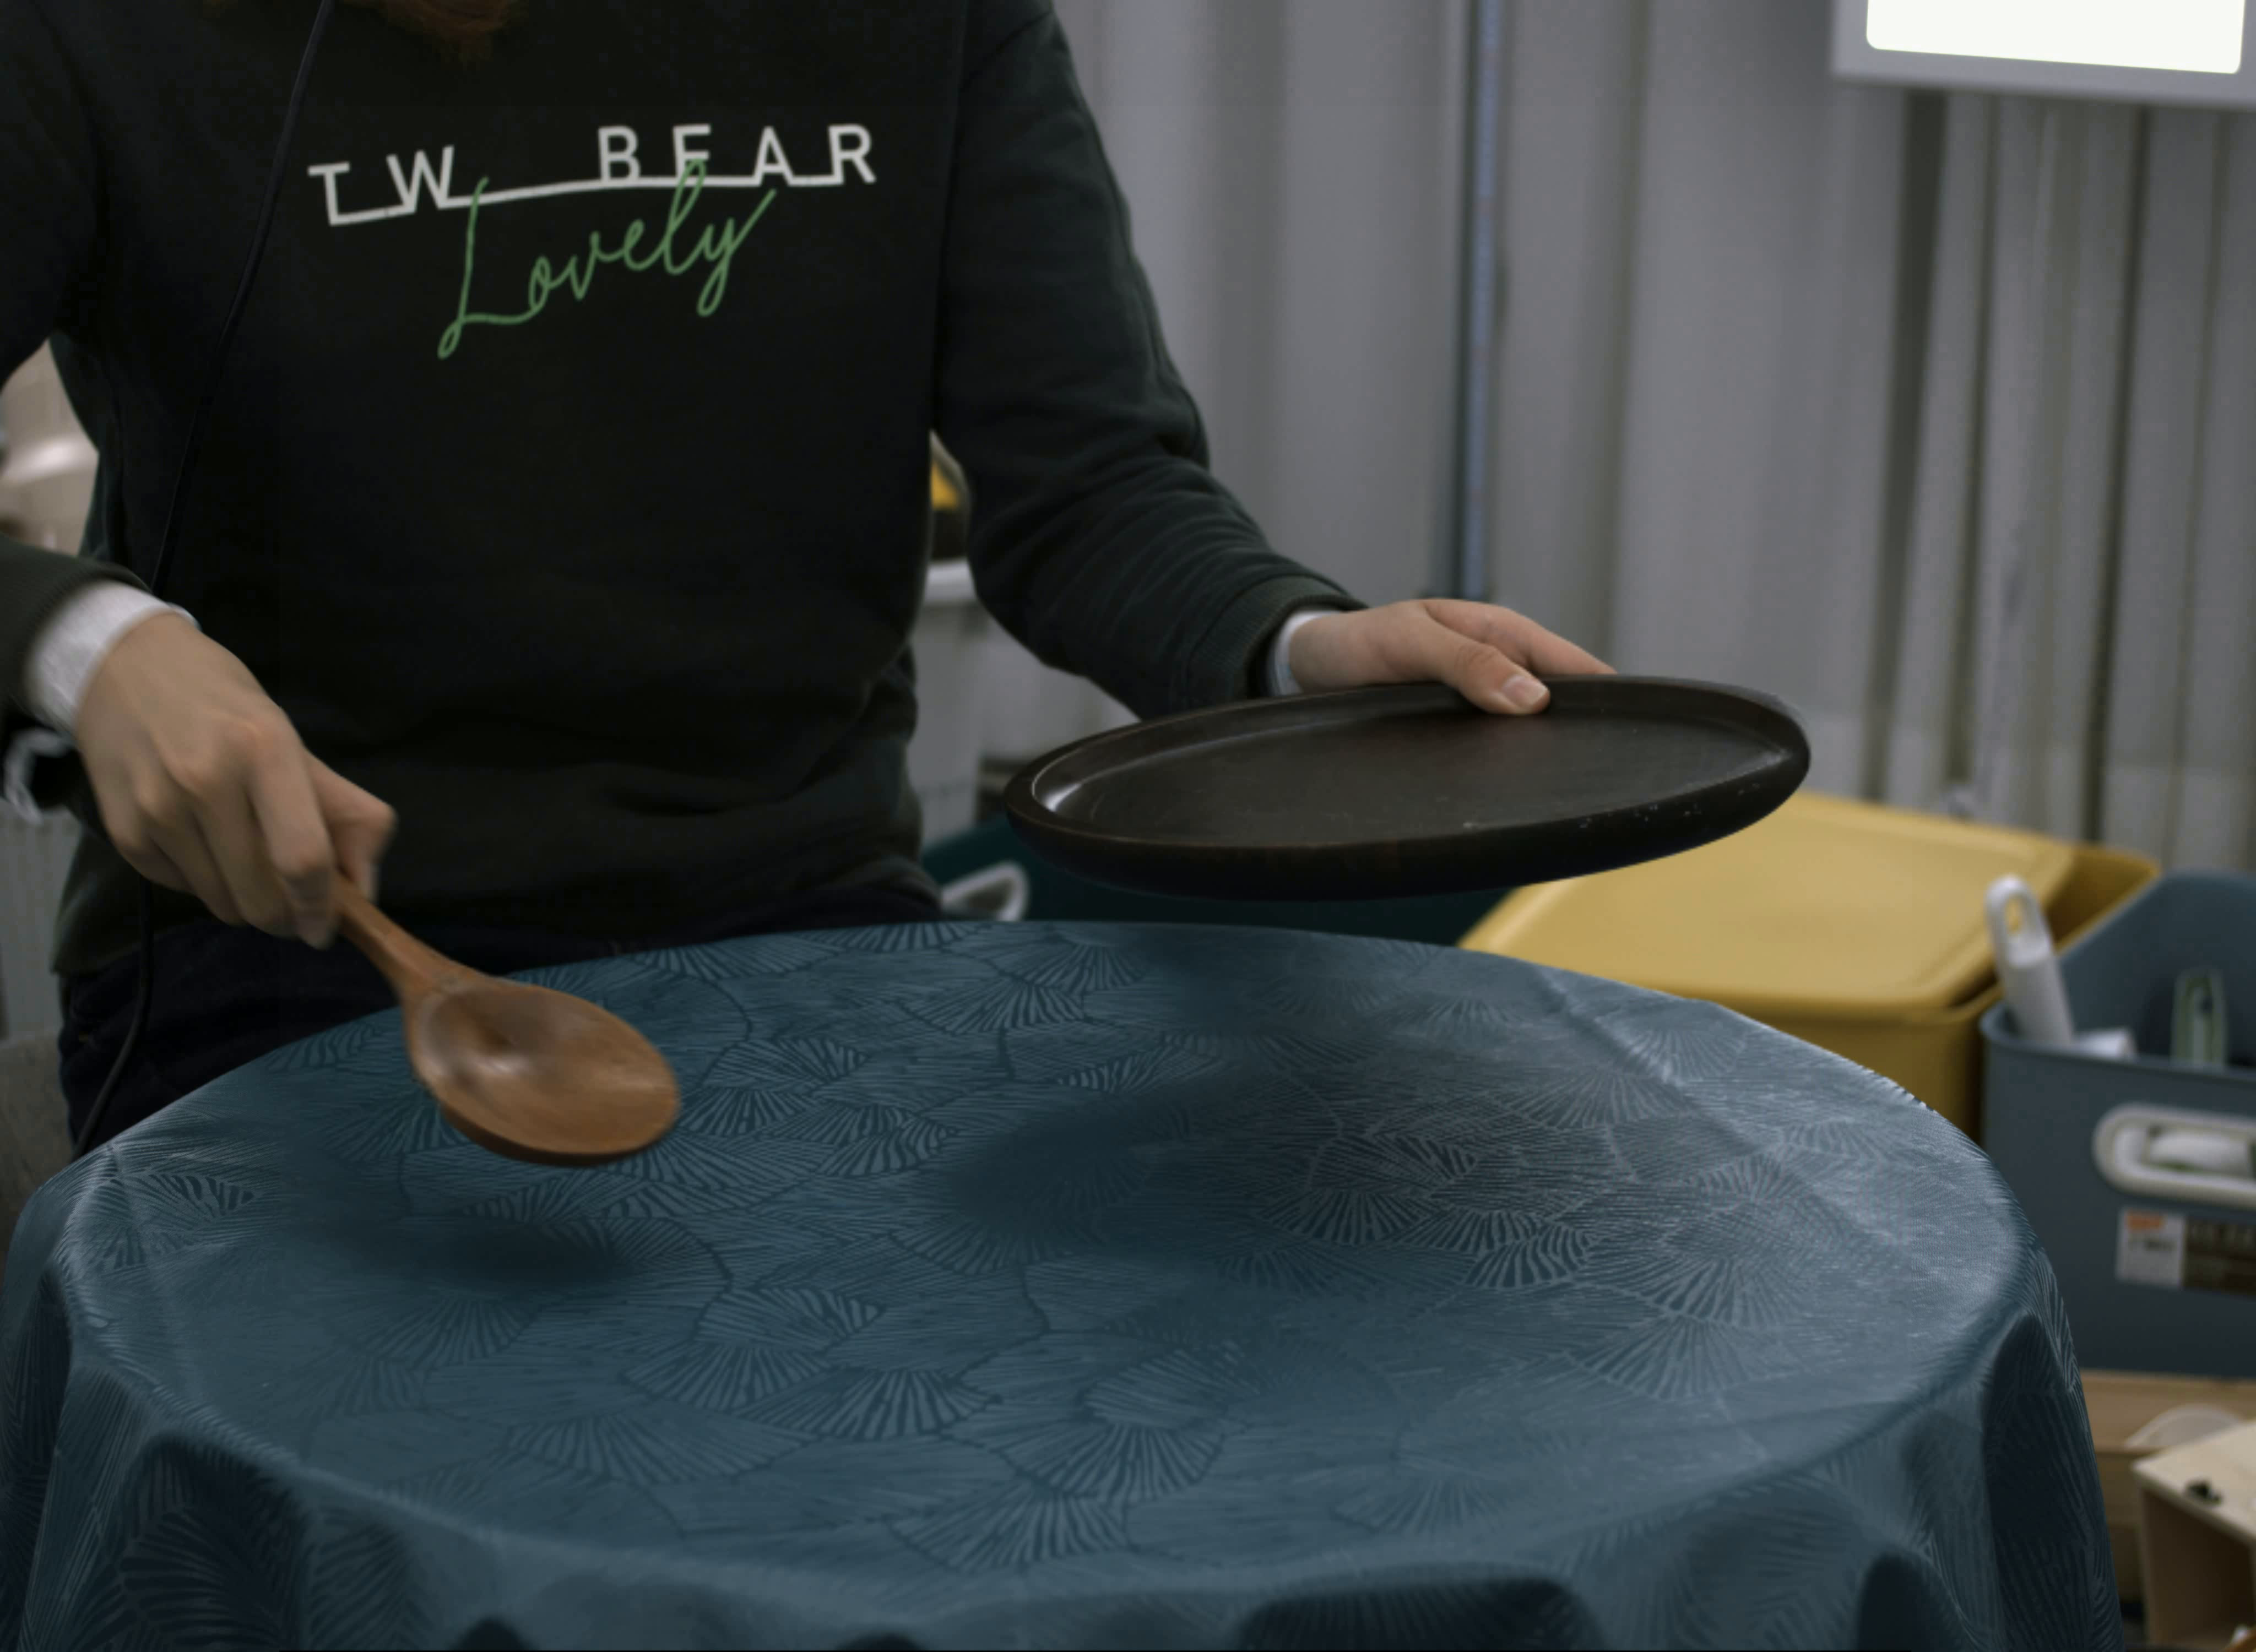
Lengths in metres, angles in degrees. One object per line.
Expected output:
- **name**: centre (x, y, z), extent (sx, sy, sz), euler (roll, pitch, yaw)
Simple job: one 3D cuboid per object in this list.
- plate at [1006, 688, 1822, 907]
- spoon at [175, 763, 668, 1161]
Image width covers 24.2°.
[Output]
- **plate**: centre (0.088, -0.012, 1.632), extent (0.254, 0.029, 0.253), euler (-4, 12, 1)
- **spoon**: centre (-0.220, 0.041, 1.594), extent (0.076, 0.017, 0.213), euler (-19, 46, -42)
